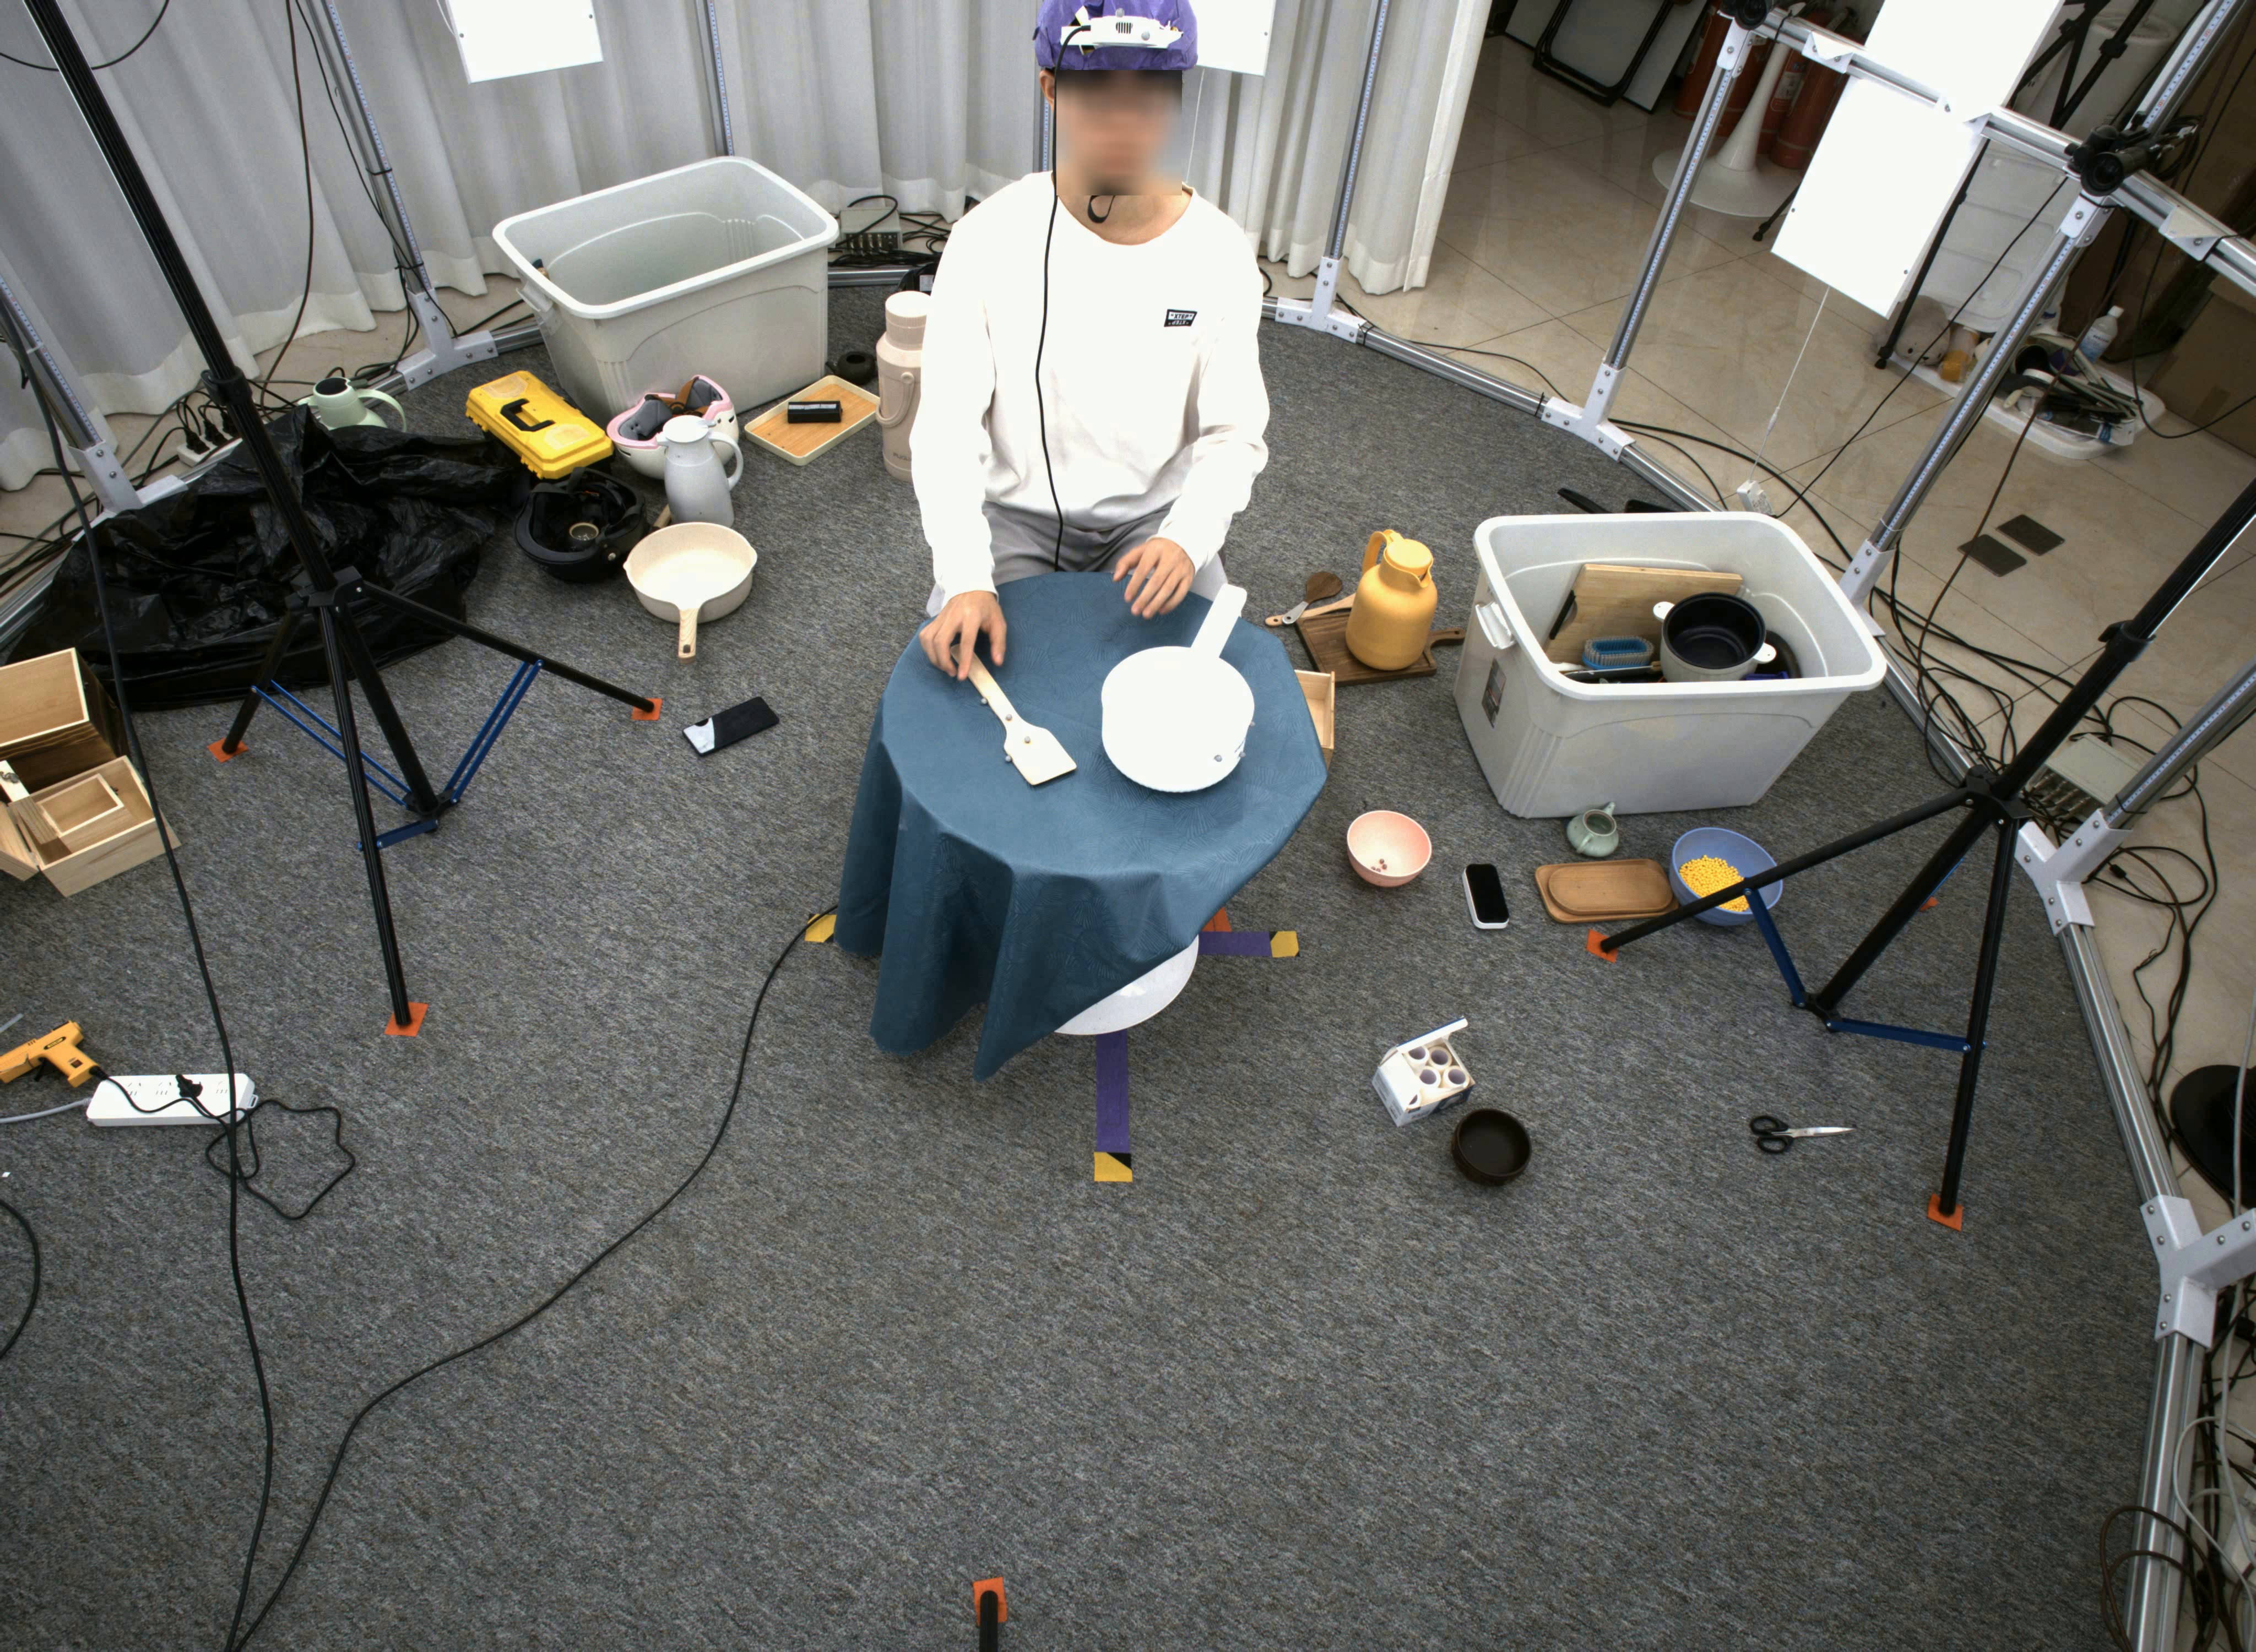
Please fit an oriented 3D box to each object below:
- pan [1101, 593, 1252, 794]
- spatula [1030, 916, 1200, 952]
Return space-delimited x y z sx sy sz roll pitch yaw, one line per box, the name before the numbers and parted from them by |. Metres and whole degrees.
pan | 0.090 -0.186 1.780 0.202 0.099 0.362 15 46 13
spatula | -0.021 0.189 2.205 0.293 0.010 0.074 3 47 -2
